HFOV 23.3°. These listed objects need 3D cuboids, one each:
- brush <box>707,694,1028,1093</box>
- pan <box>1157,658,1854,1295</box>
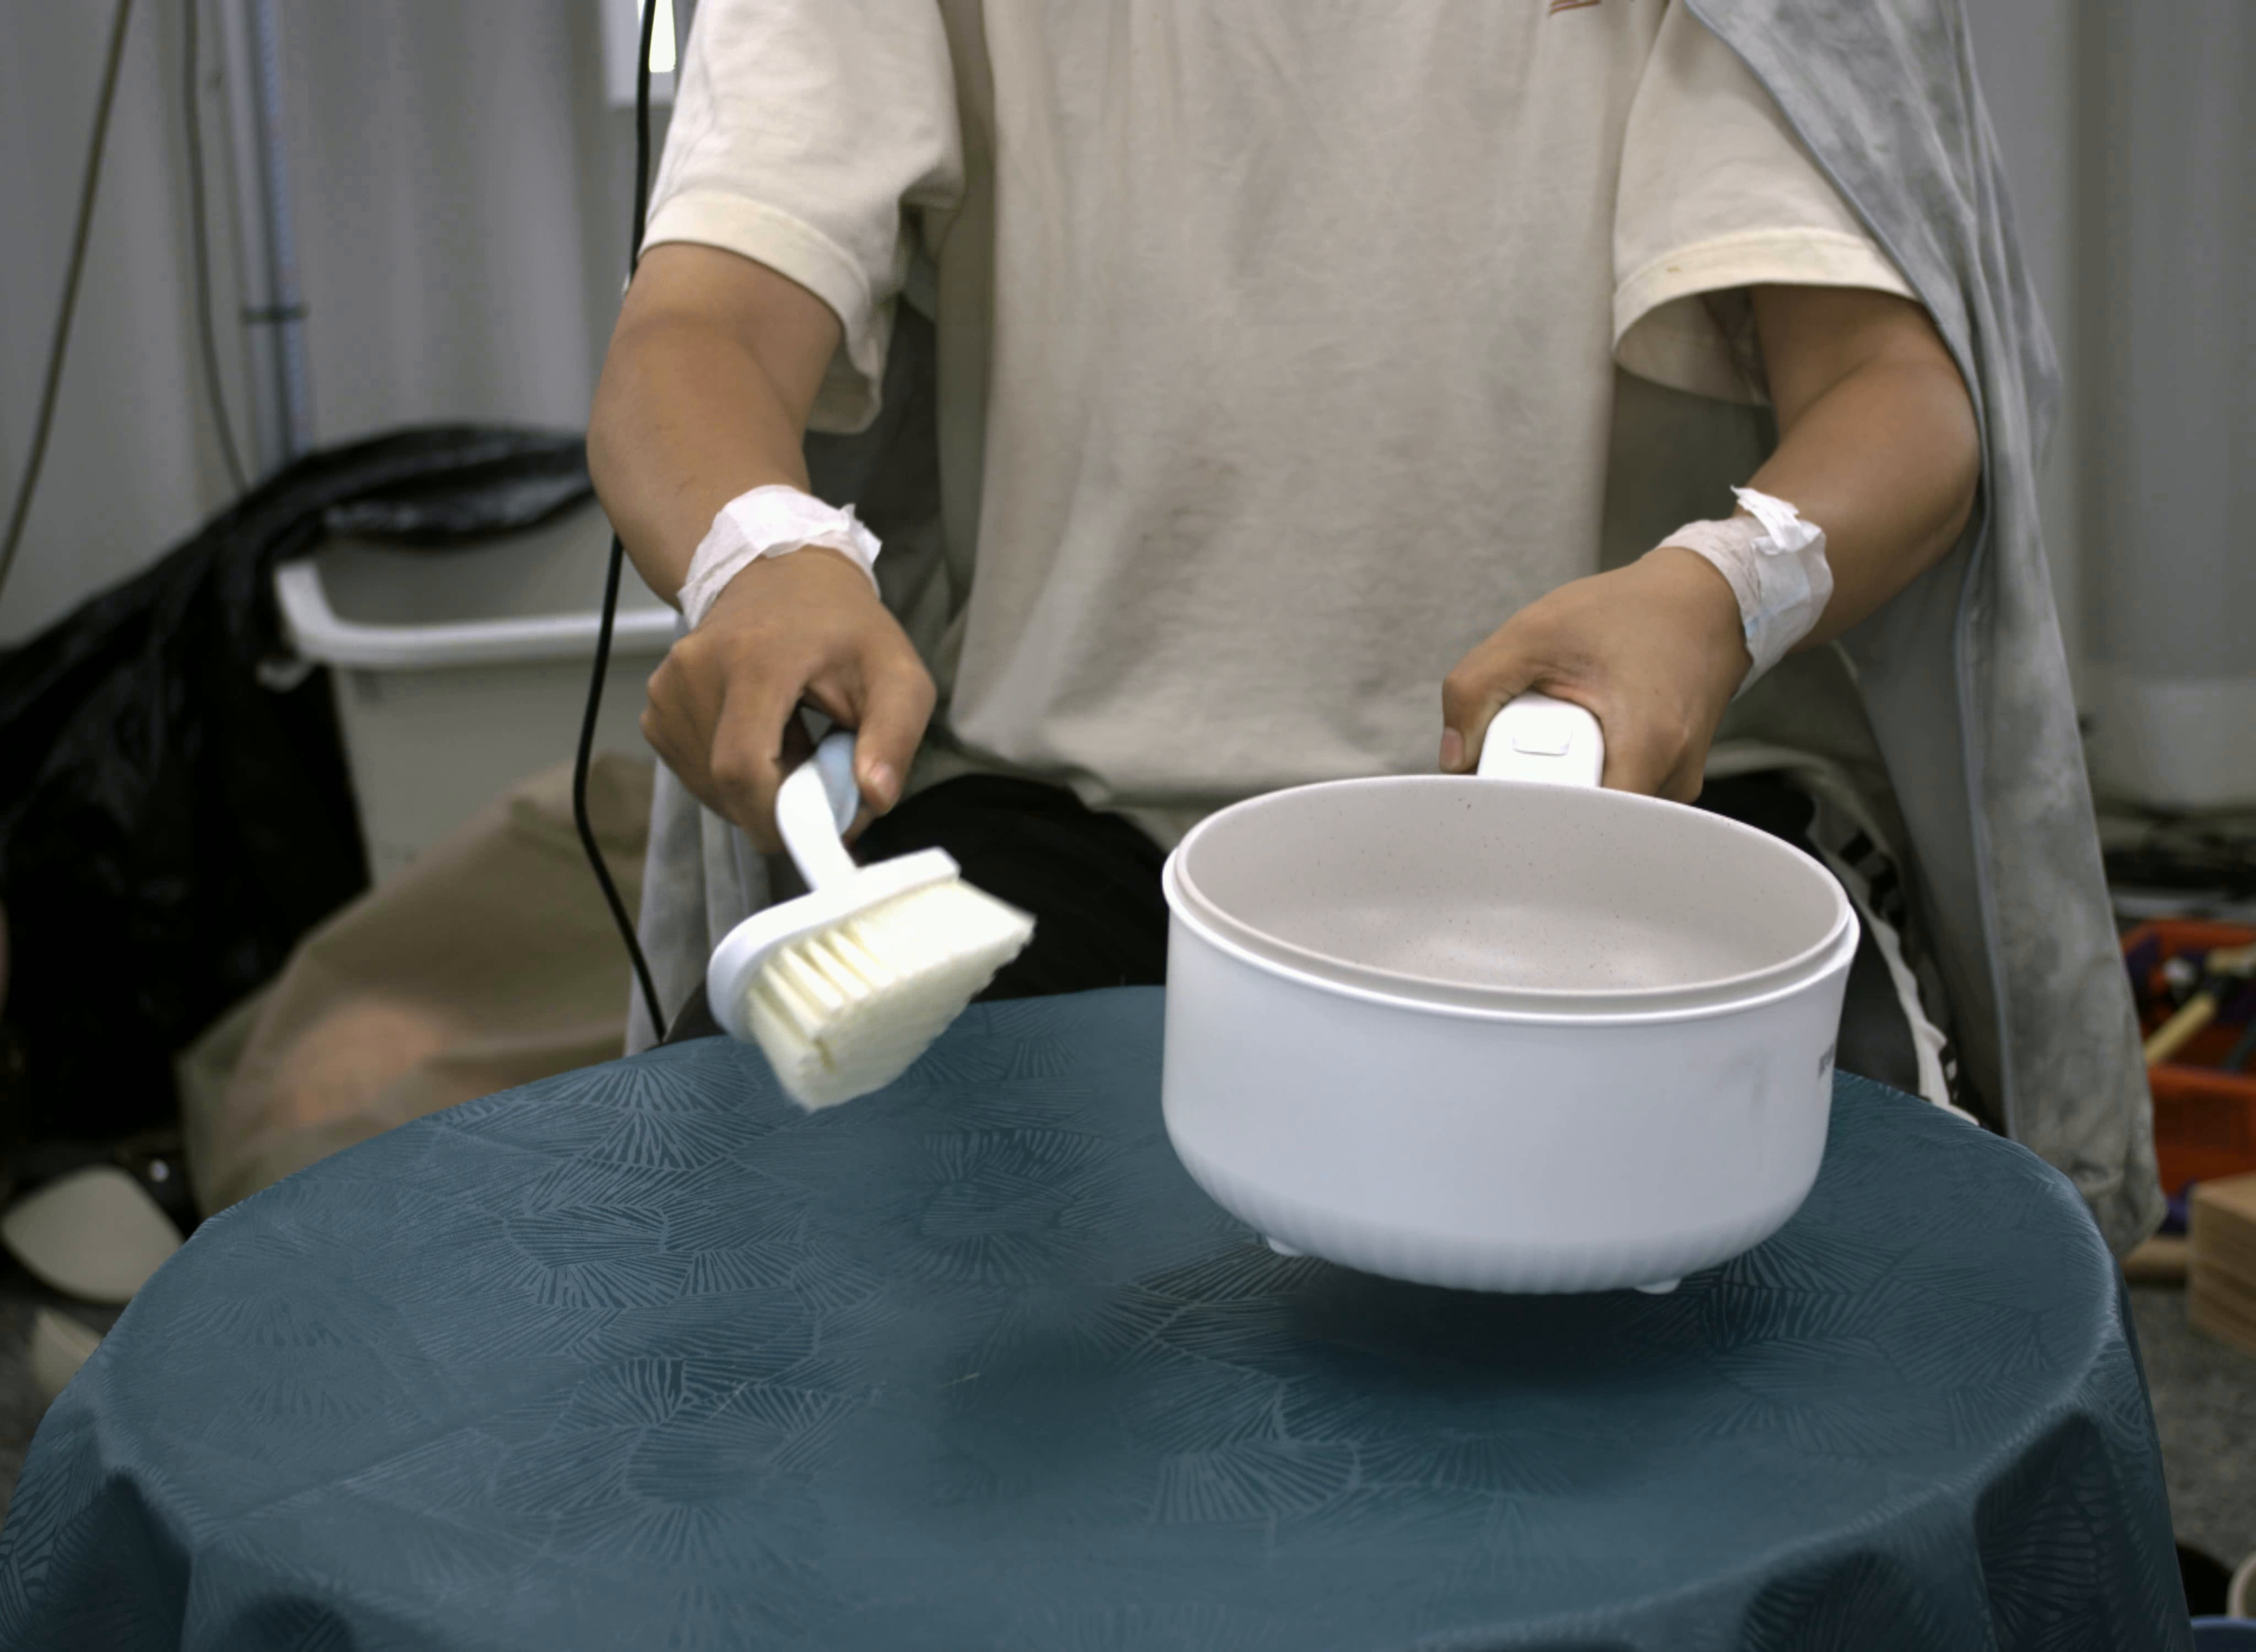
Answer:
[{"bbox_3d":[-0.066,0.019,1.667,0.083,0.084,0.327,-11,10,7],"label":"brush"},{"bbox_3d":[0.116,0.041,1.666,0.201,0.101,0.357,5,17,6],"label":"pan"}]
